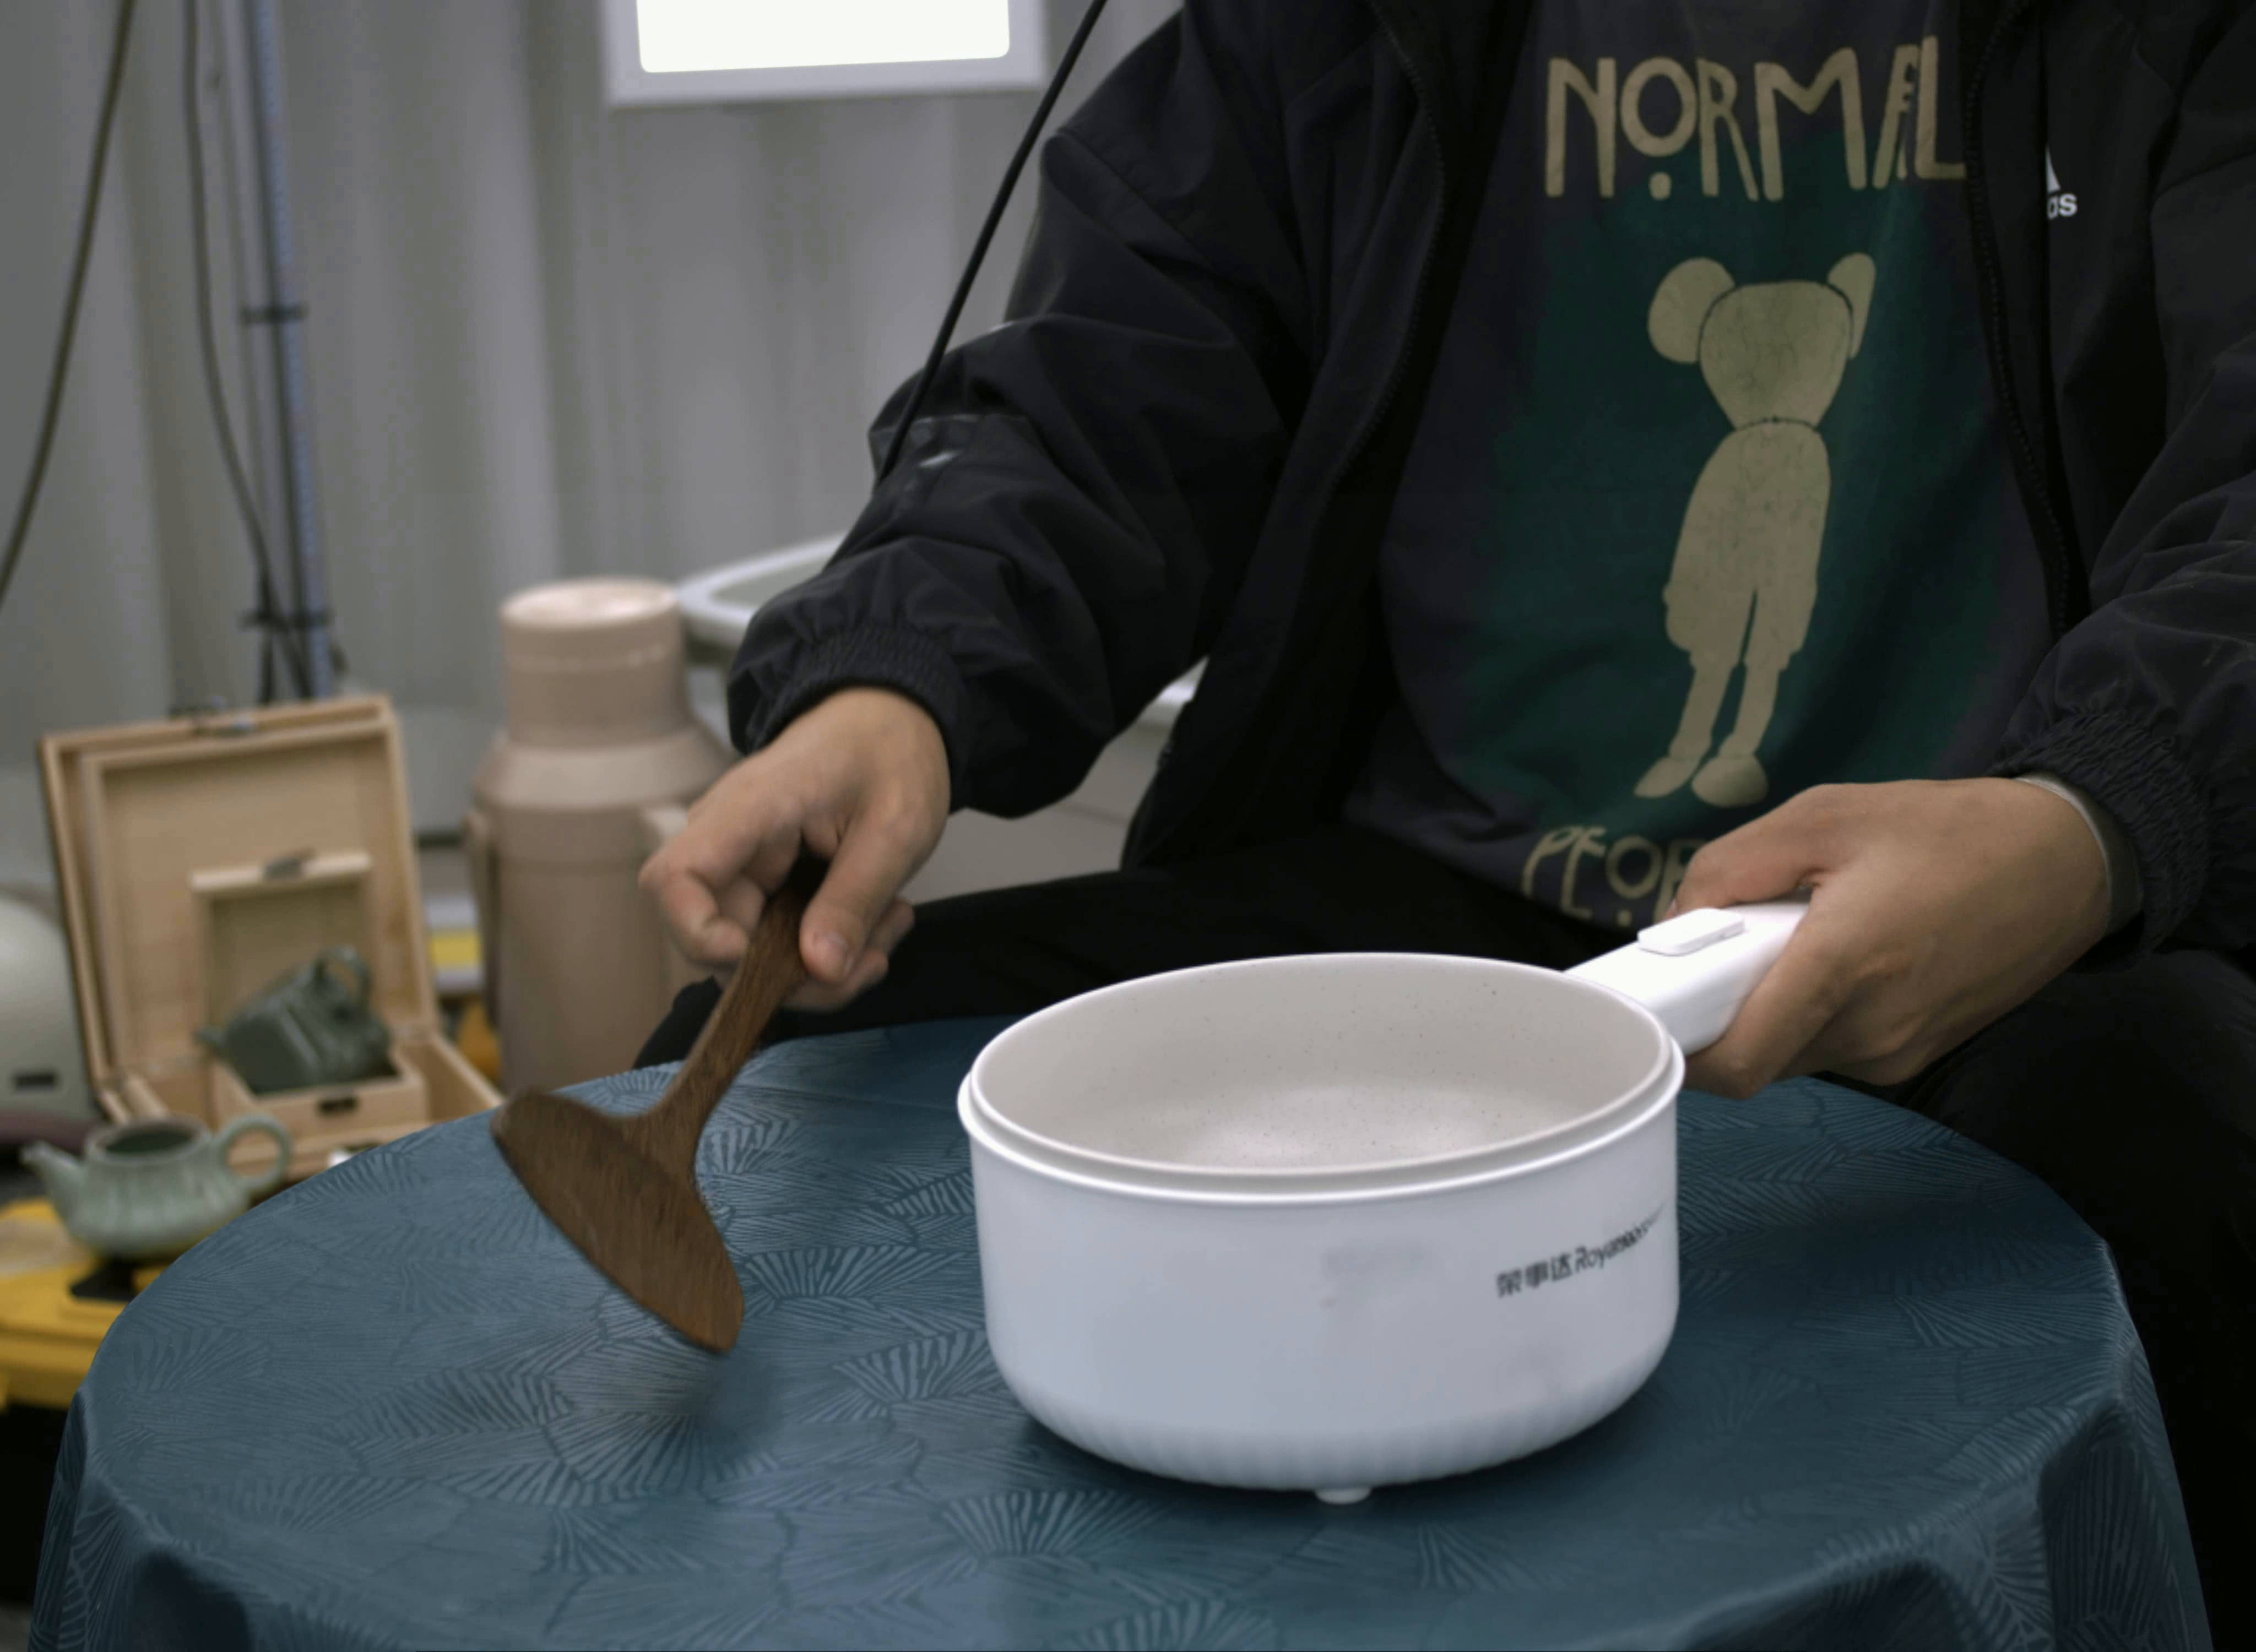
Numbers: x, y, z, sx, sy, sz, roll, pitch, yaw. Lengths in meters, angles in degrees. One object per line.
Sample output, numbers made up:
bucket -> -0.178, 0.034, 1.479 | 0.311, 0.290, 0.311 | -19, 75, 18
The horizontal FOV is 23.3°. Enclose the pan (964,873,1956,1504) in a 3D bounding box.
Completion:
pan -> 0.112, 0.097, 1.568 | 0.354, 0.102, 0.202 | -15, 18, -42

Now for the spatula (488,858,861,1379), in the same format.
spatula -> -0.125, 0.073, 1.689 | 0.016, 0.096, 0.388 | -44, 7, 17
